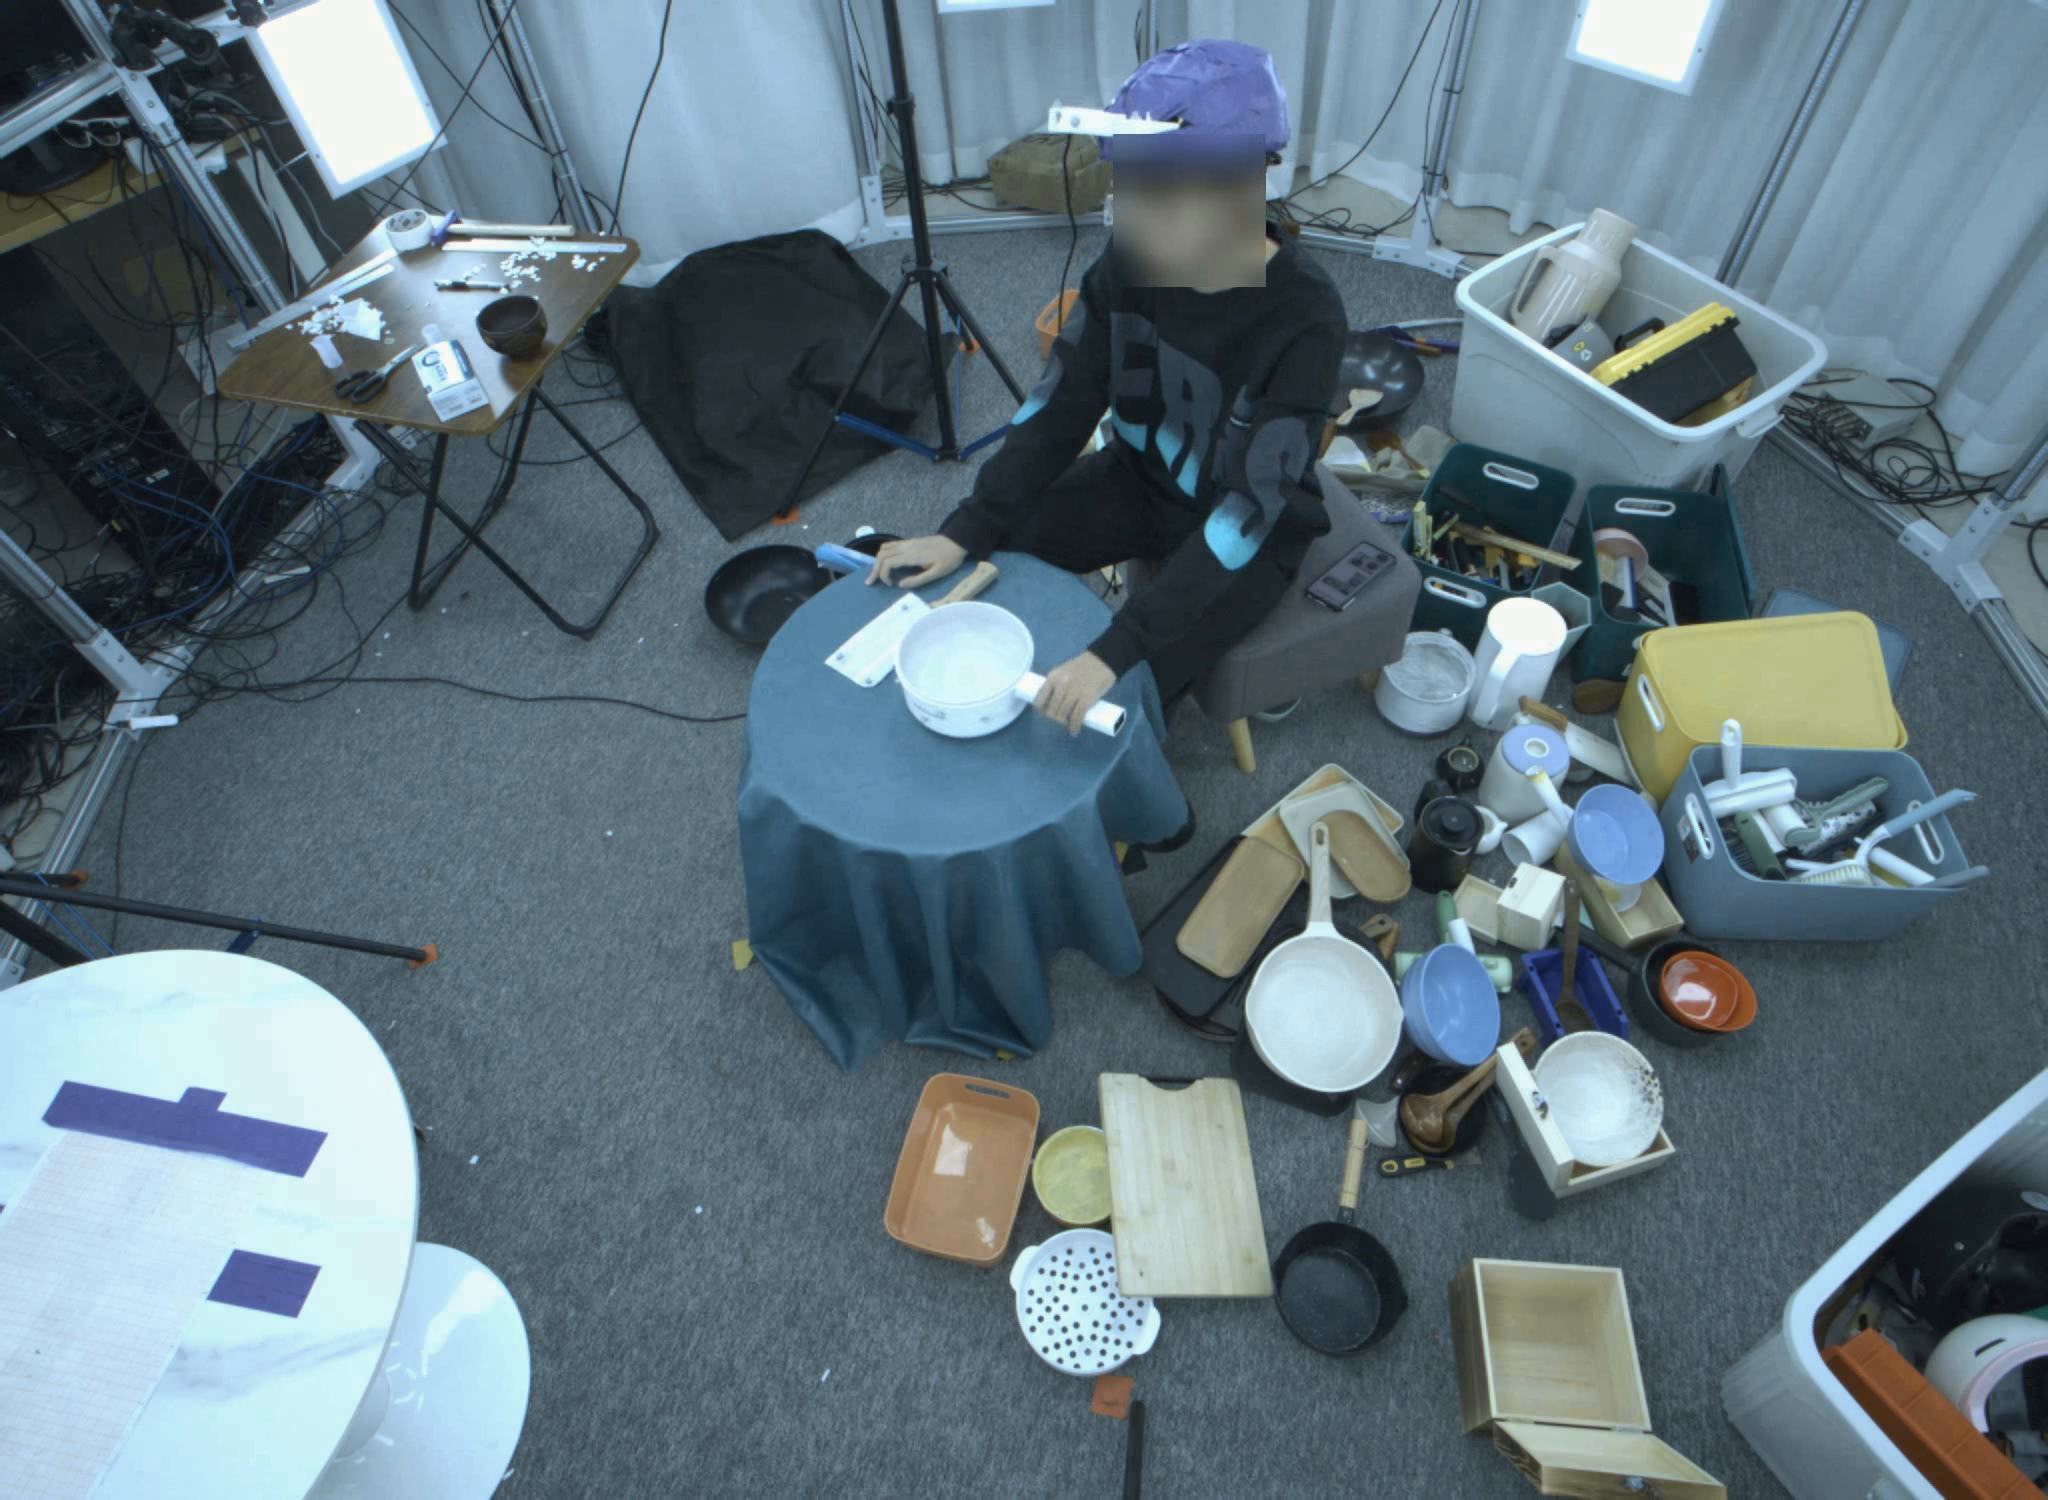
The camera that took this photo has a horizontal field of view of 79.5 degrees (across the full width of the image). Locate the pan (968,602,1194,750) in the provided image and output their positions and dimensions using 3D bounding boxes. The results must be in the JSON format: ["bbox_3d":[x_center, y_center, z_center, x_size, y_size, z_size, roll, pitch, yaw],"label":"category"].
[{"bbox_3d":[0.084,-0.078,1.779,0.349,0.103,0.202,29,60,20],"label":"pan"}]

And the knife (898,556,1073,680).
[{"bbox_3d":[-0.050,-0.213,1.929,0.317,0.022,0.112,-36,61,-18],"label":"knife"}]
